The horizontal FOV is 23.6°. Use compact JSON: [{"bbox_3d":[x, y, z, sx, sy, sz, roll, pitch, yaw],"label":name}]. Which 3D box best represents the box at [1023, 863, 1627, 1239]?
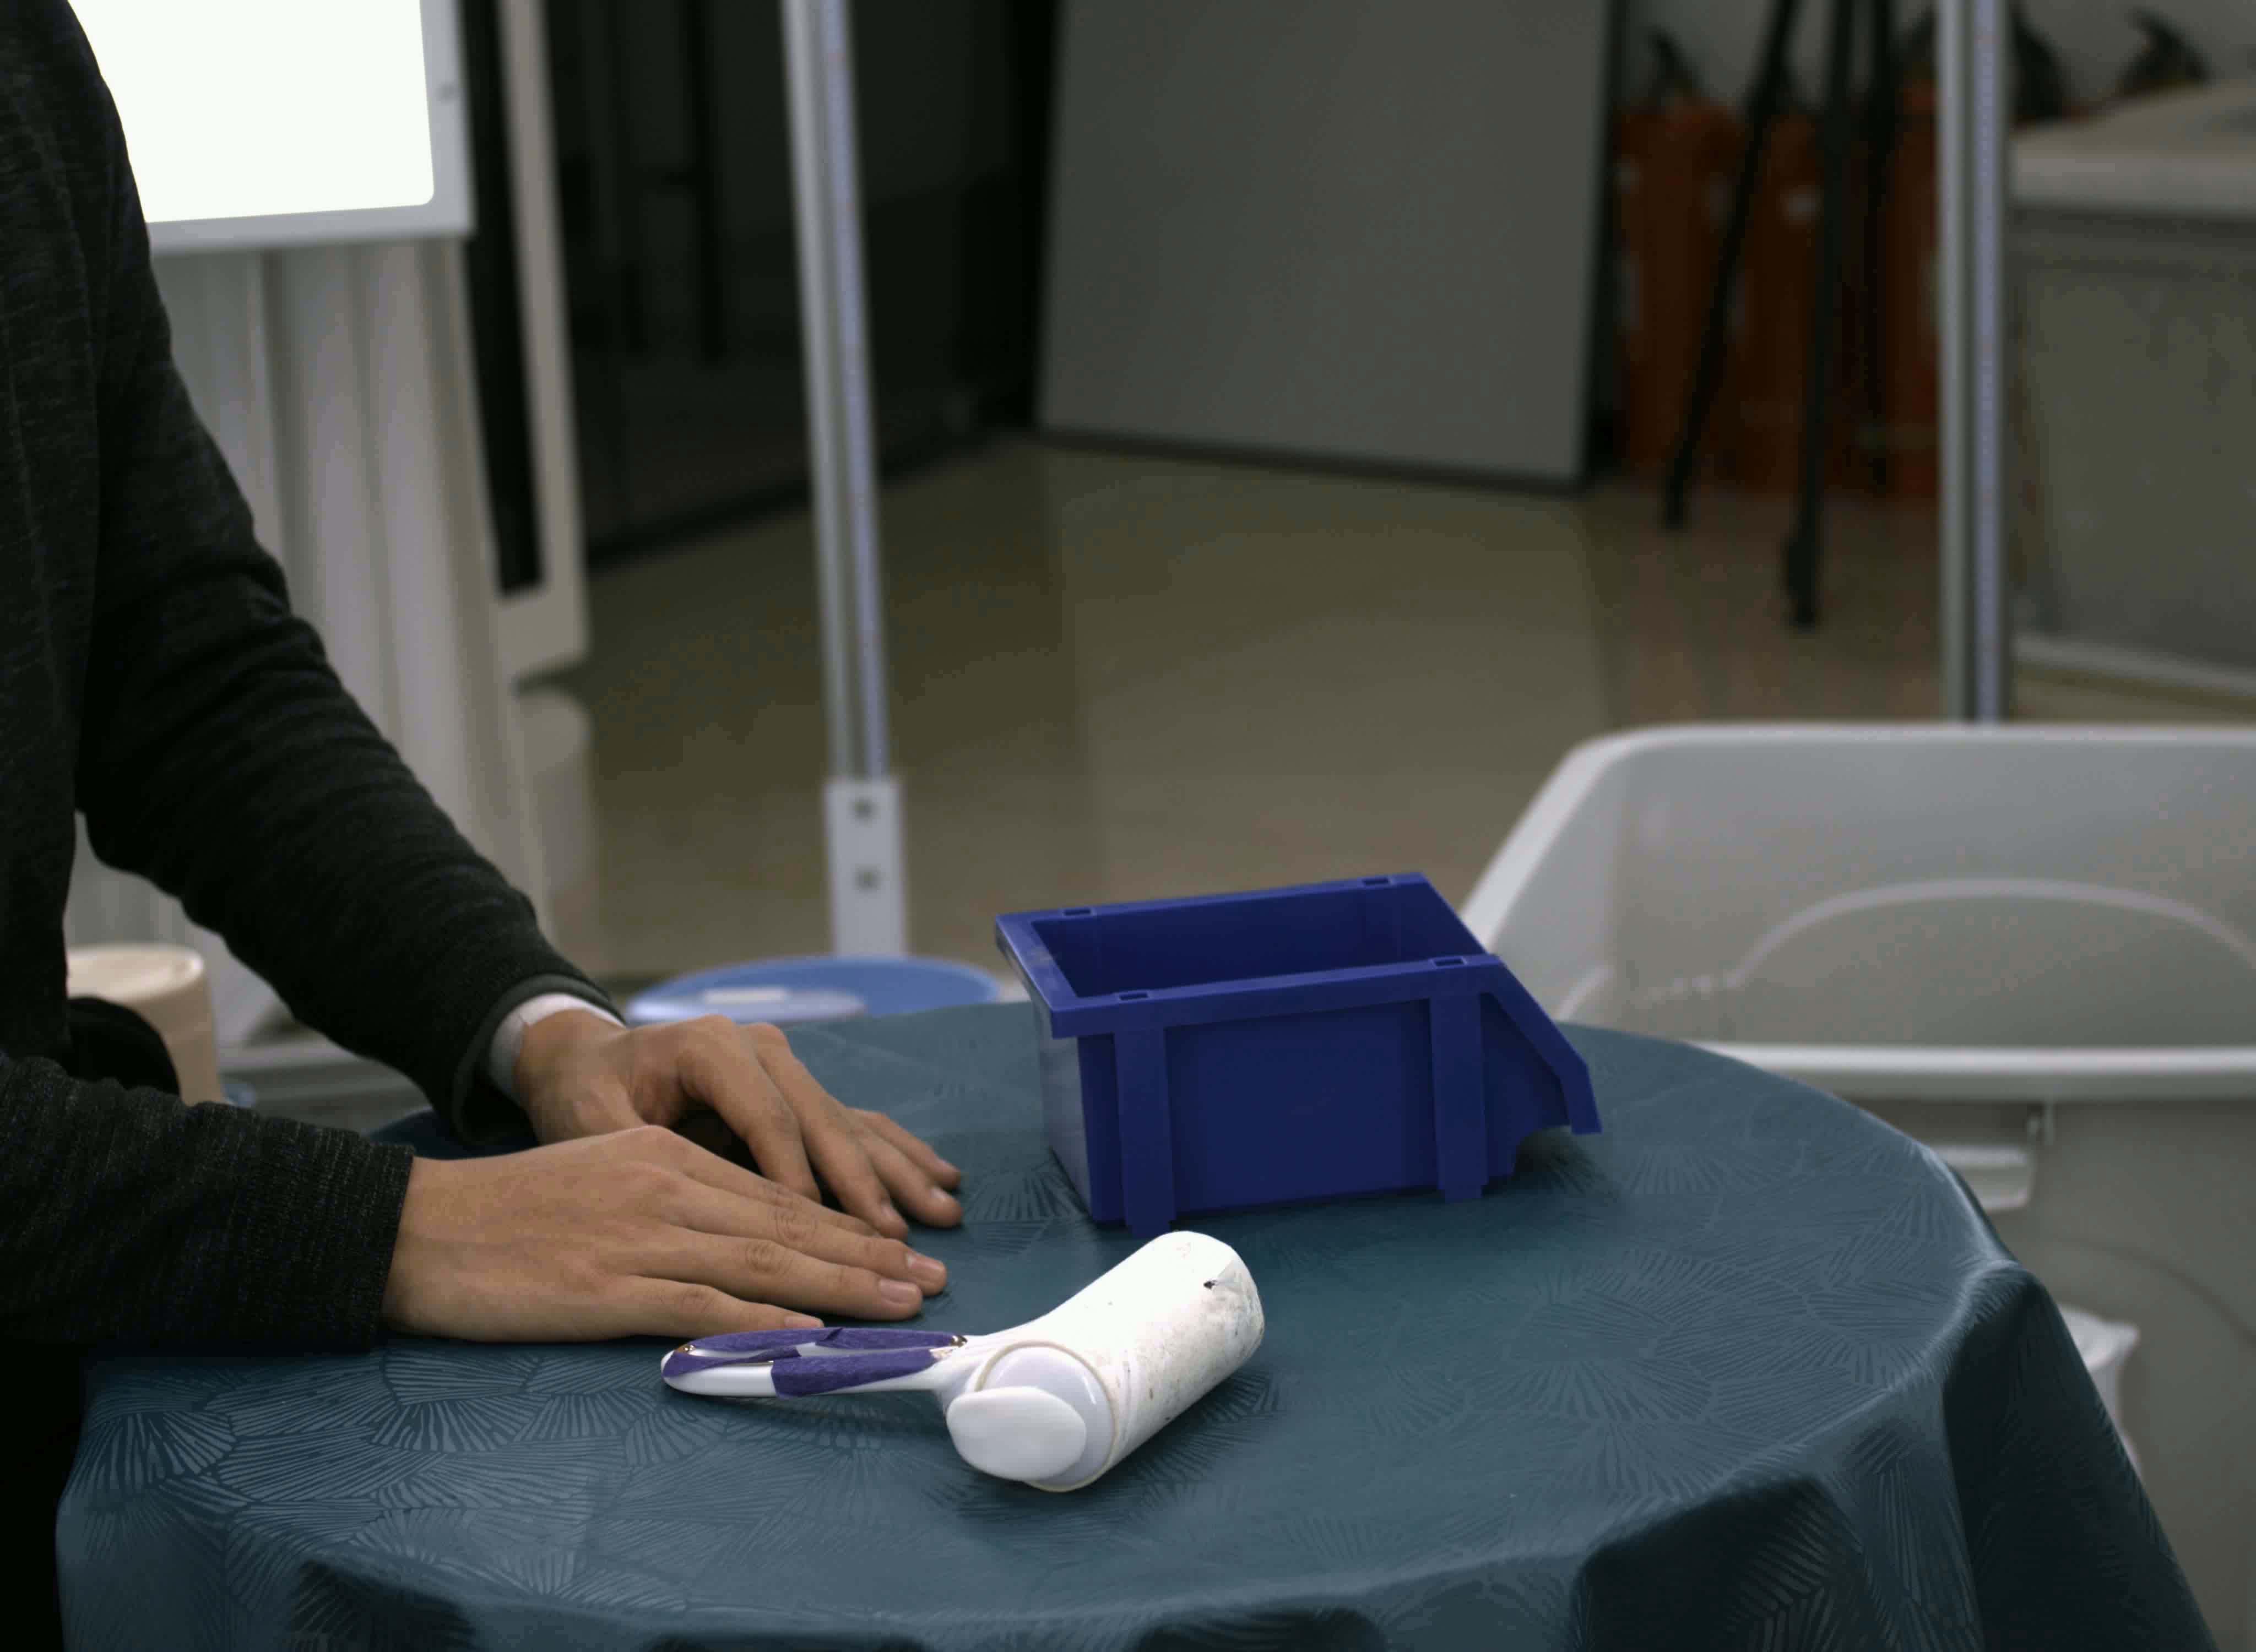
[{"bbox_3d":[0.064,0.071,1.782,0.176,0.083,0.125,-9,14,-6],"label":"box"}]

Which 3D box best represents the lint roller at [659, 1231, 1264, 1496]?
[{"bbox_3d":[-0.058,0.149,1.576,0.181,0.051,0.131,5,17,28],"label":"lint roller"}]
